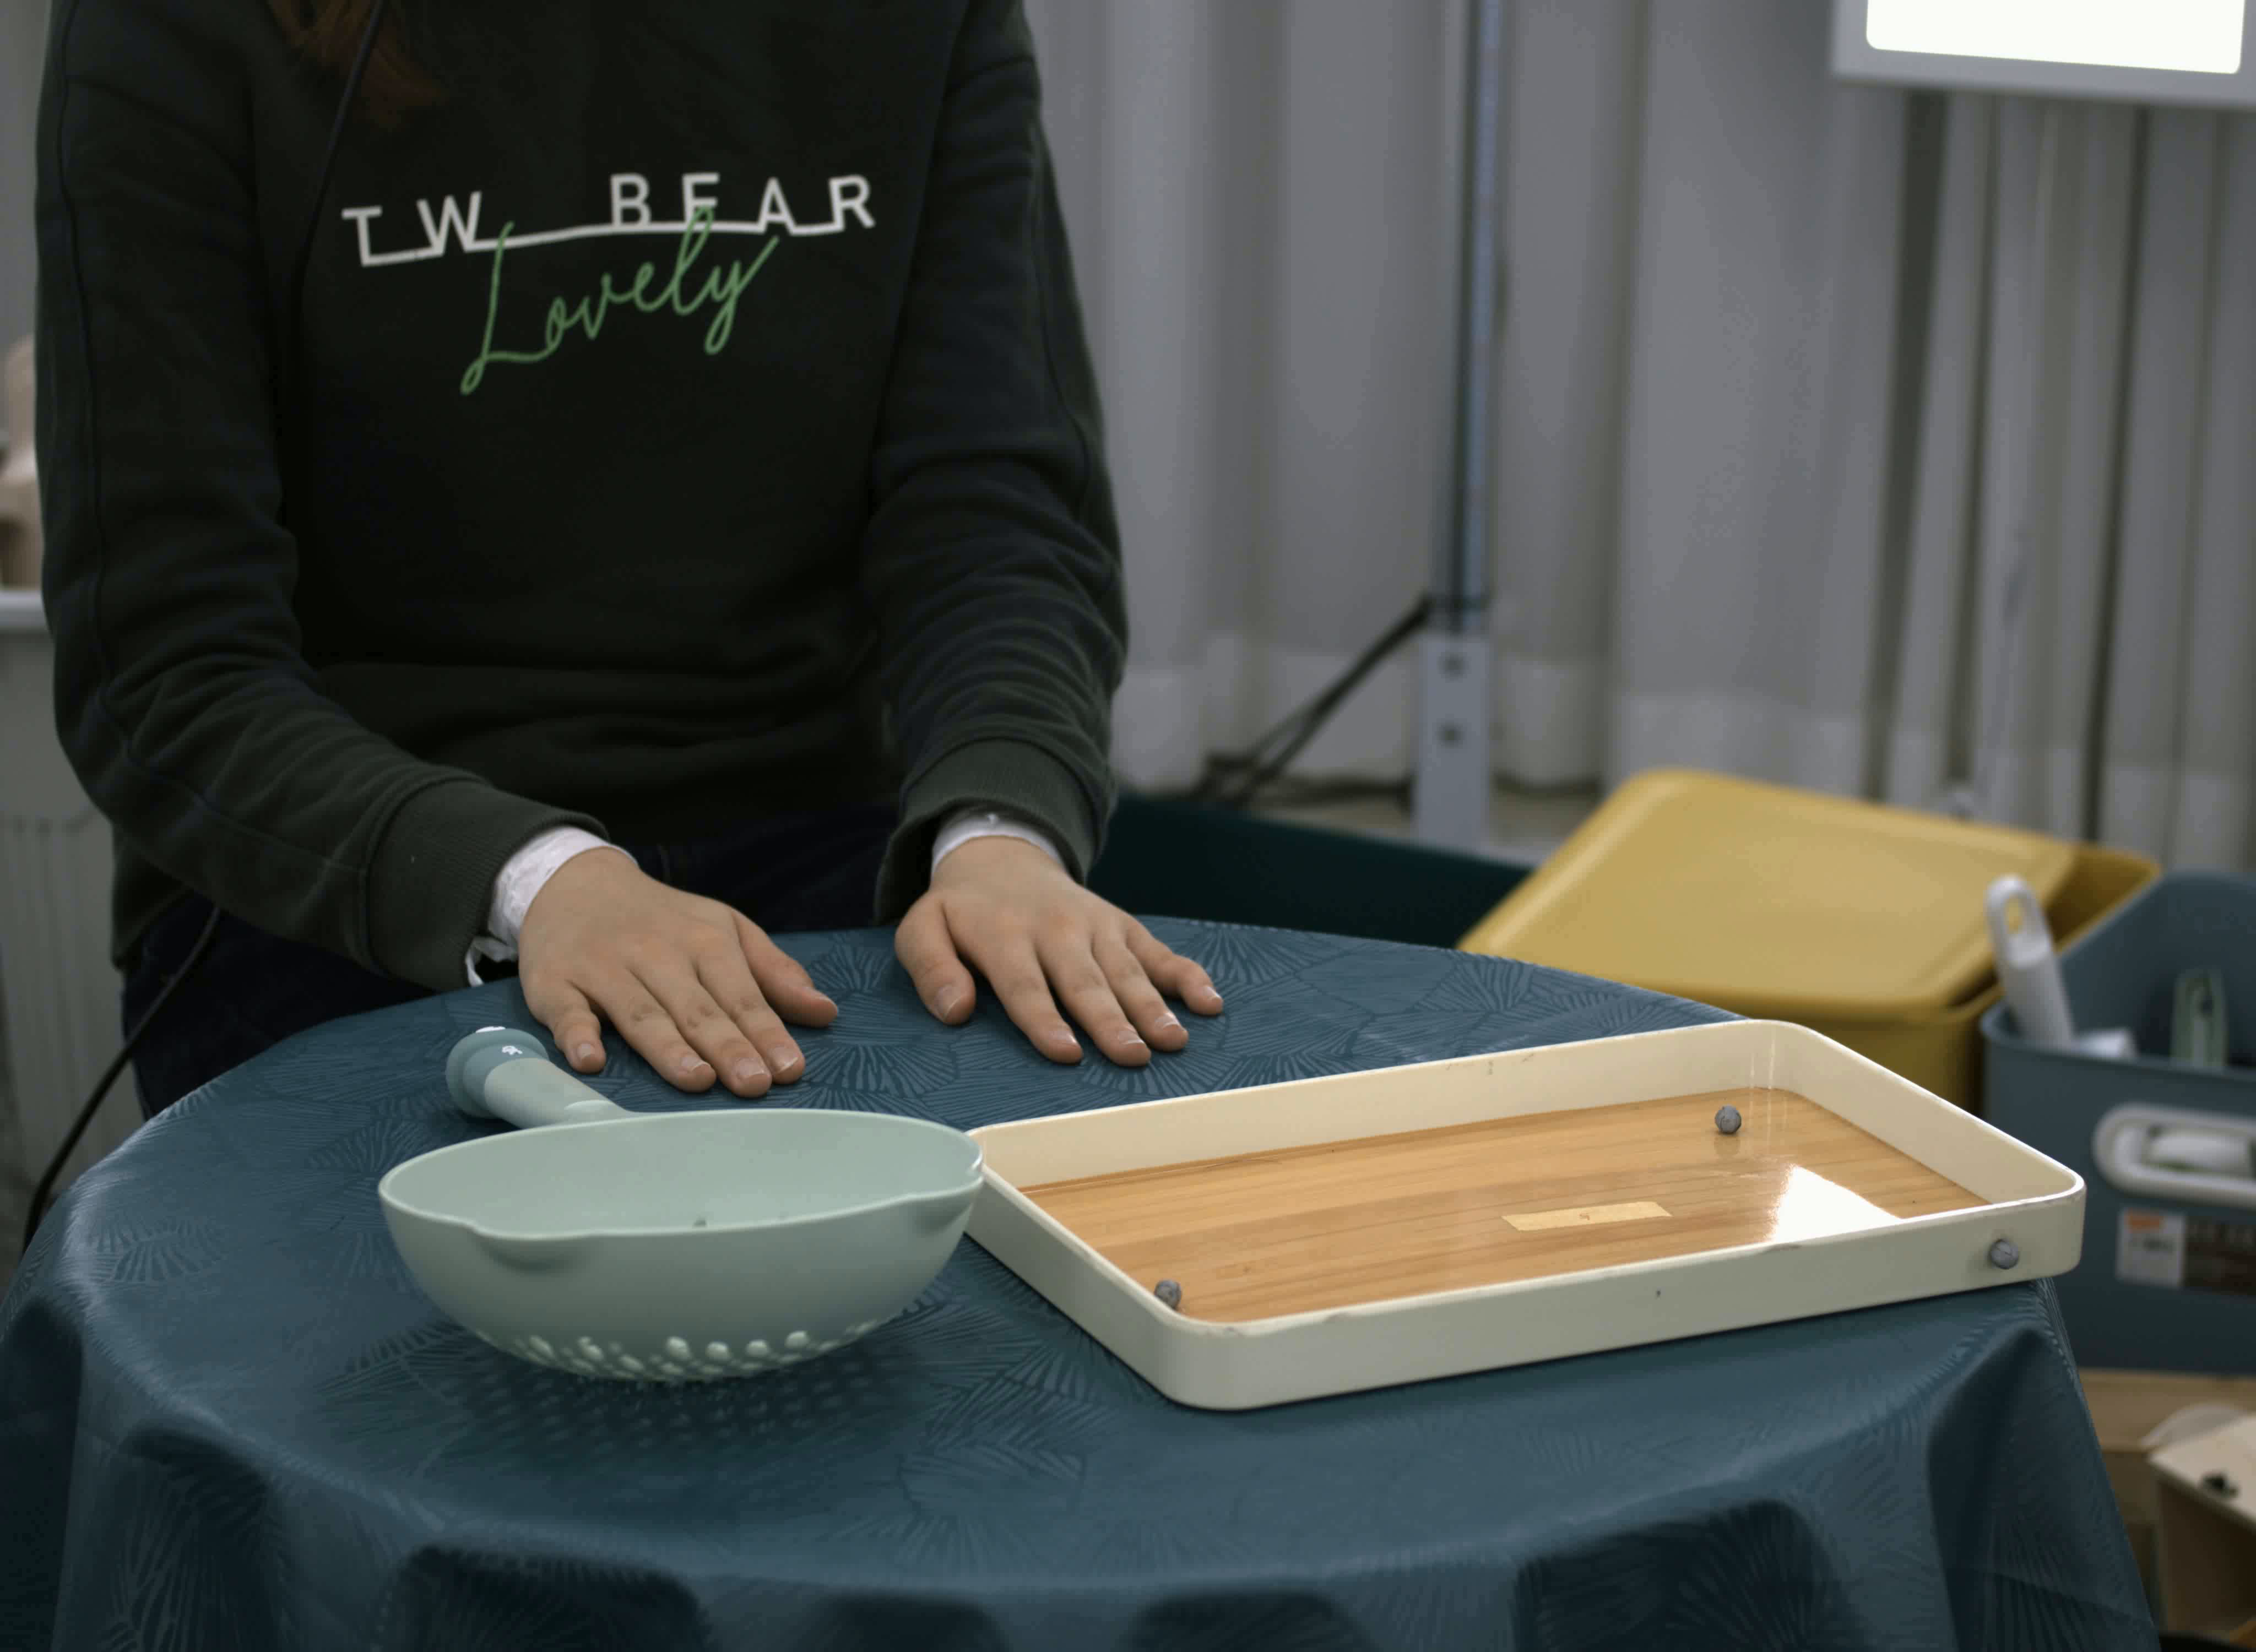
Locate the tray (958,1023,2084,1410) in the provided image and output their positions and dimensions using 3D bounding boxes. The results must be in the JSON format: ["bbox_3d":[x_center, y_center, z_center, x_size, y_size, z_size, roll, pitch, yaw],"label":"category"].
[{"bbox_3d":[0.115,0.113,1.581,0.301,0.027,0.189,-6,17,-24],"label":"tray"}]

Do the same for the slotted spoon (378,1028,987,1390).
[{"bbox_3d":[-0.155,0.097,1.558,0.170,0.076,0.355,-4,16,-19],"label":"slotted spoon"}]
